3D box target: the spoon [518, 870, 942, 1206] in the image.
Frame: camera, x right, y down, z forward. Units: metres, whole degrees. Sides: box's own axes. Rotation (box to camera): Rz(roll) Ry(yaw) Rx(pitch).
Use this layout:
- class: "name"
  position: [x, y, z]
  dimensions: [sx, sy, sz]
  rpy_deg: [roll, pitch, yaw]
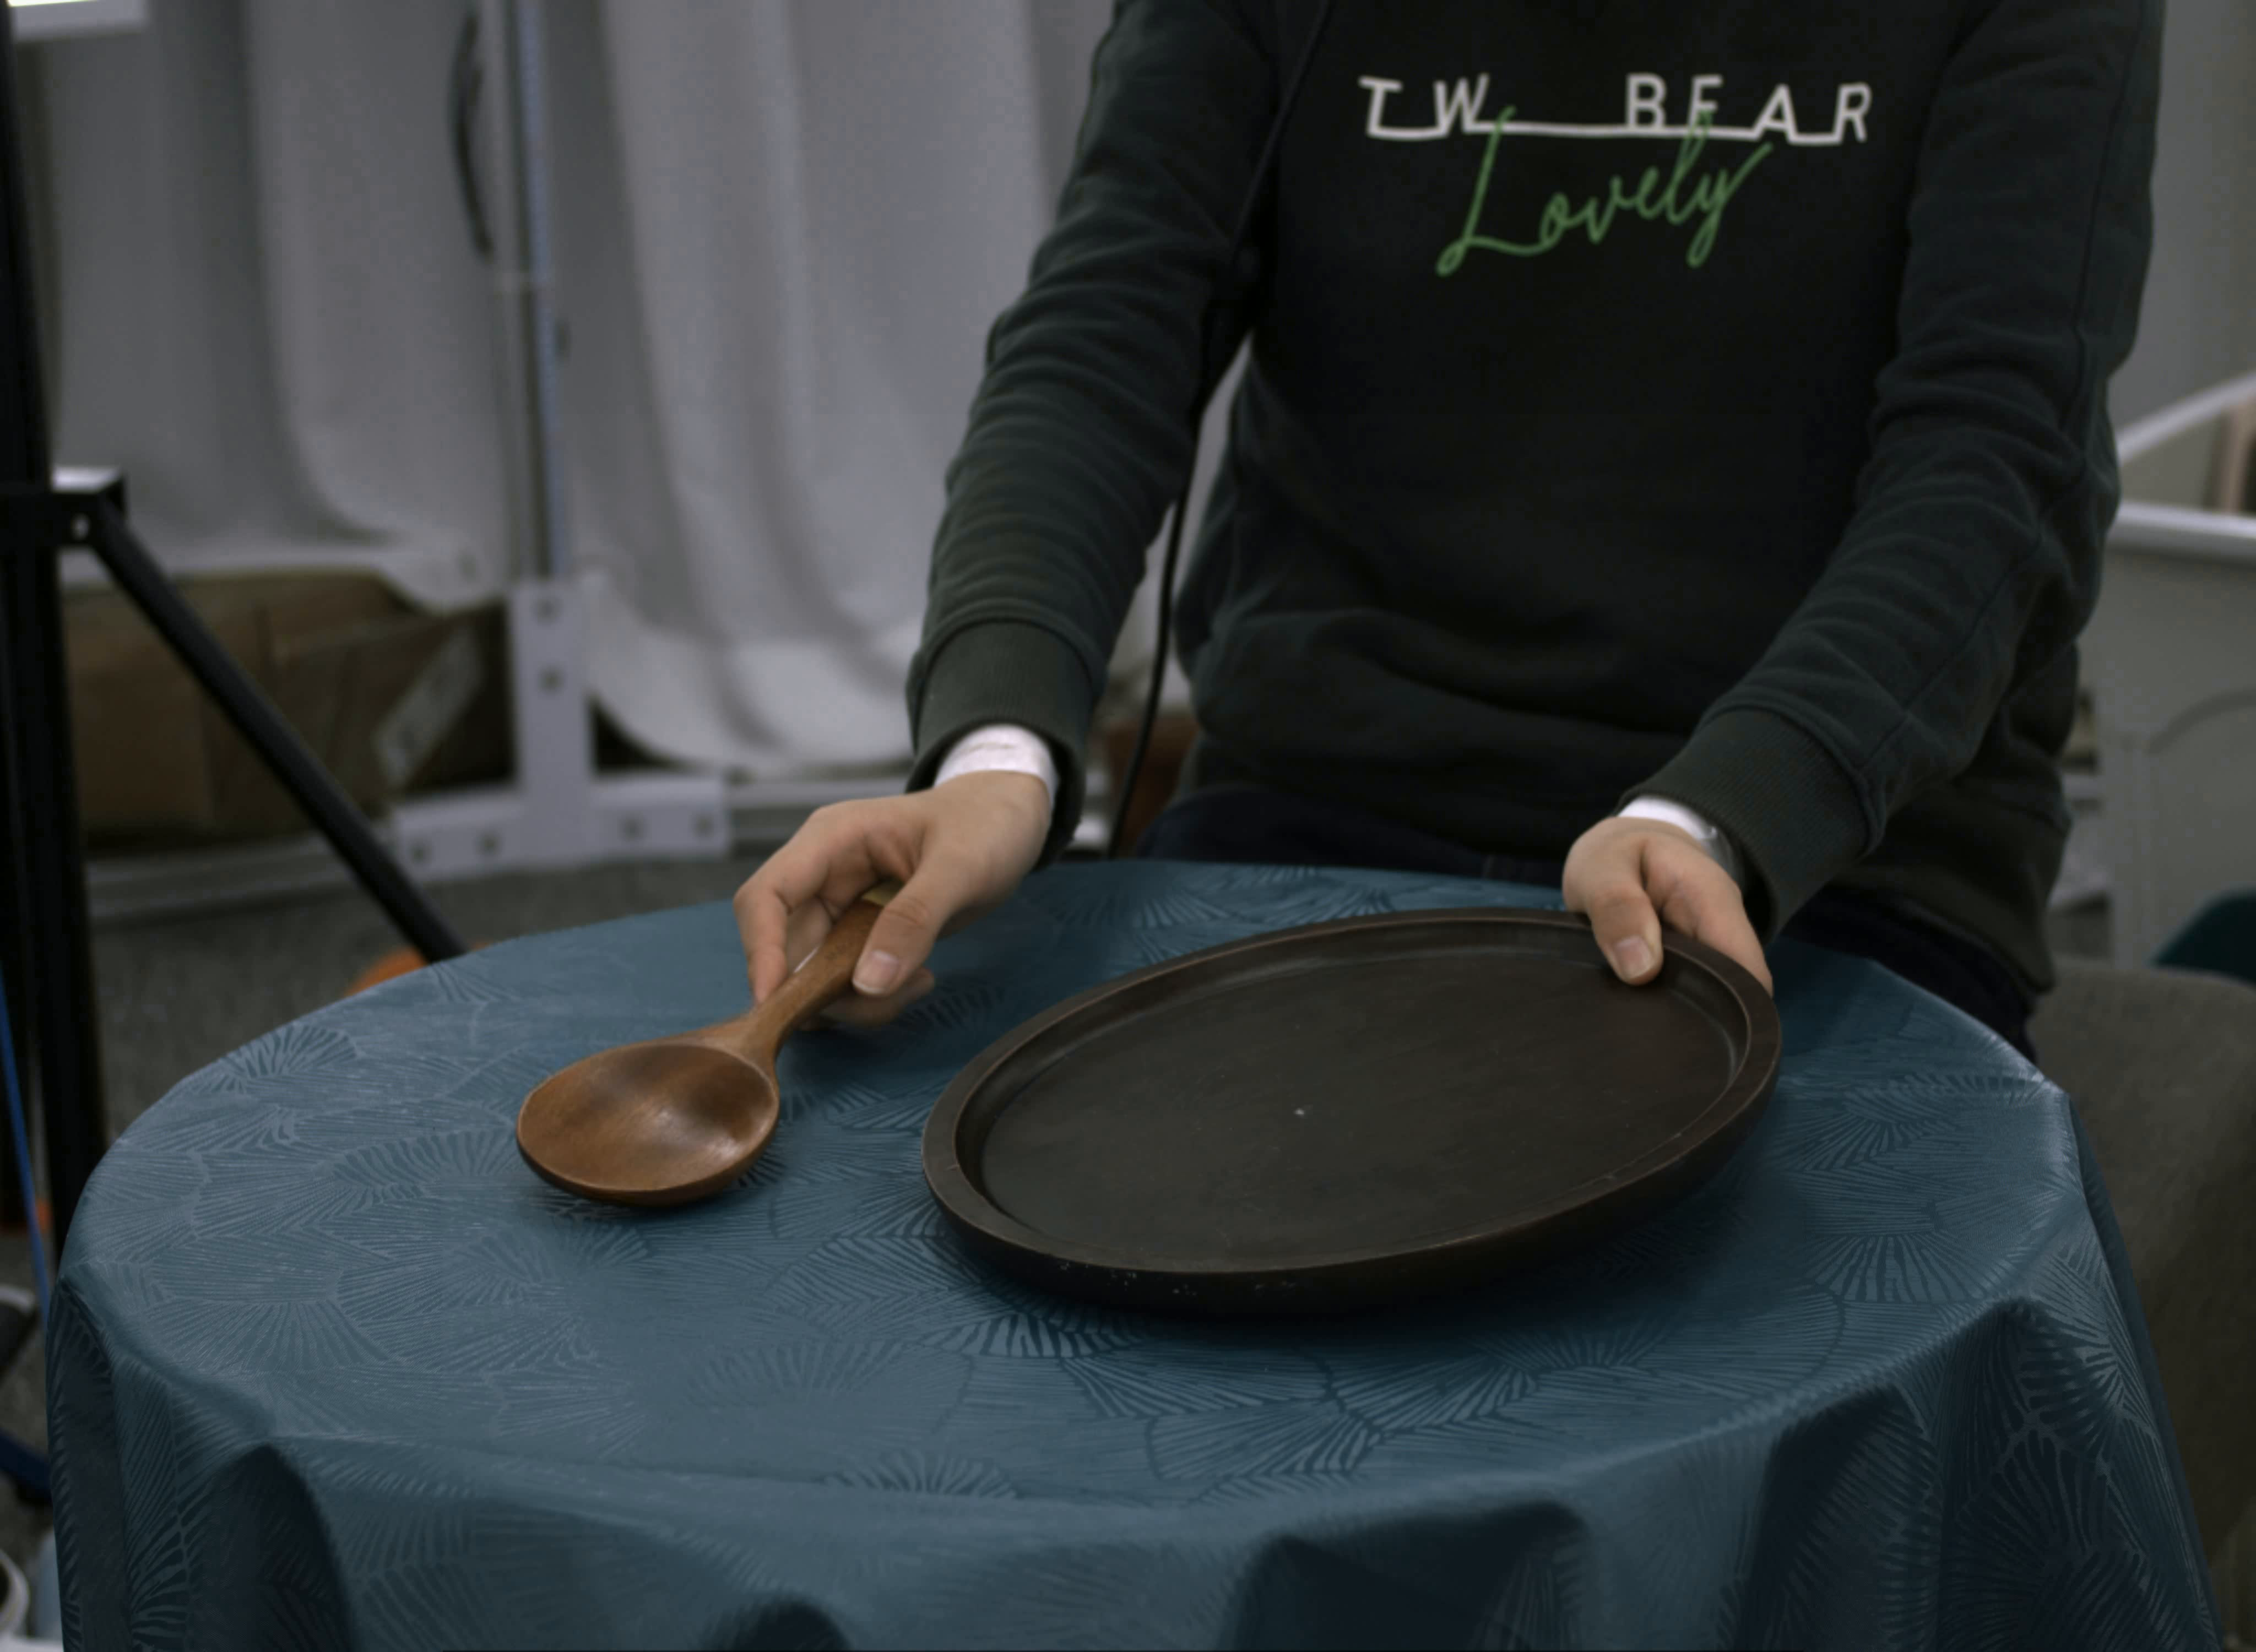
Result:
- class: "spoon"
  position: [-0.113, 0.065, 1.642]
  dimensions: [0.076, 0.017, 0.213]
  rpy_deg: [16, 31, 22]

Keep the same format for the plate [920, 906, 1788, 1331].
- class: "plate"
  position: [0.065, 0.083, 1.536]
  dimensions: [0.254, 0.029, 0.256]
  rpy_deg: [-10, 21, 2]
